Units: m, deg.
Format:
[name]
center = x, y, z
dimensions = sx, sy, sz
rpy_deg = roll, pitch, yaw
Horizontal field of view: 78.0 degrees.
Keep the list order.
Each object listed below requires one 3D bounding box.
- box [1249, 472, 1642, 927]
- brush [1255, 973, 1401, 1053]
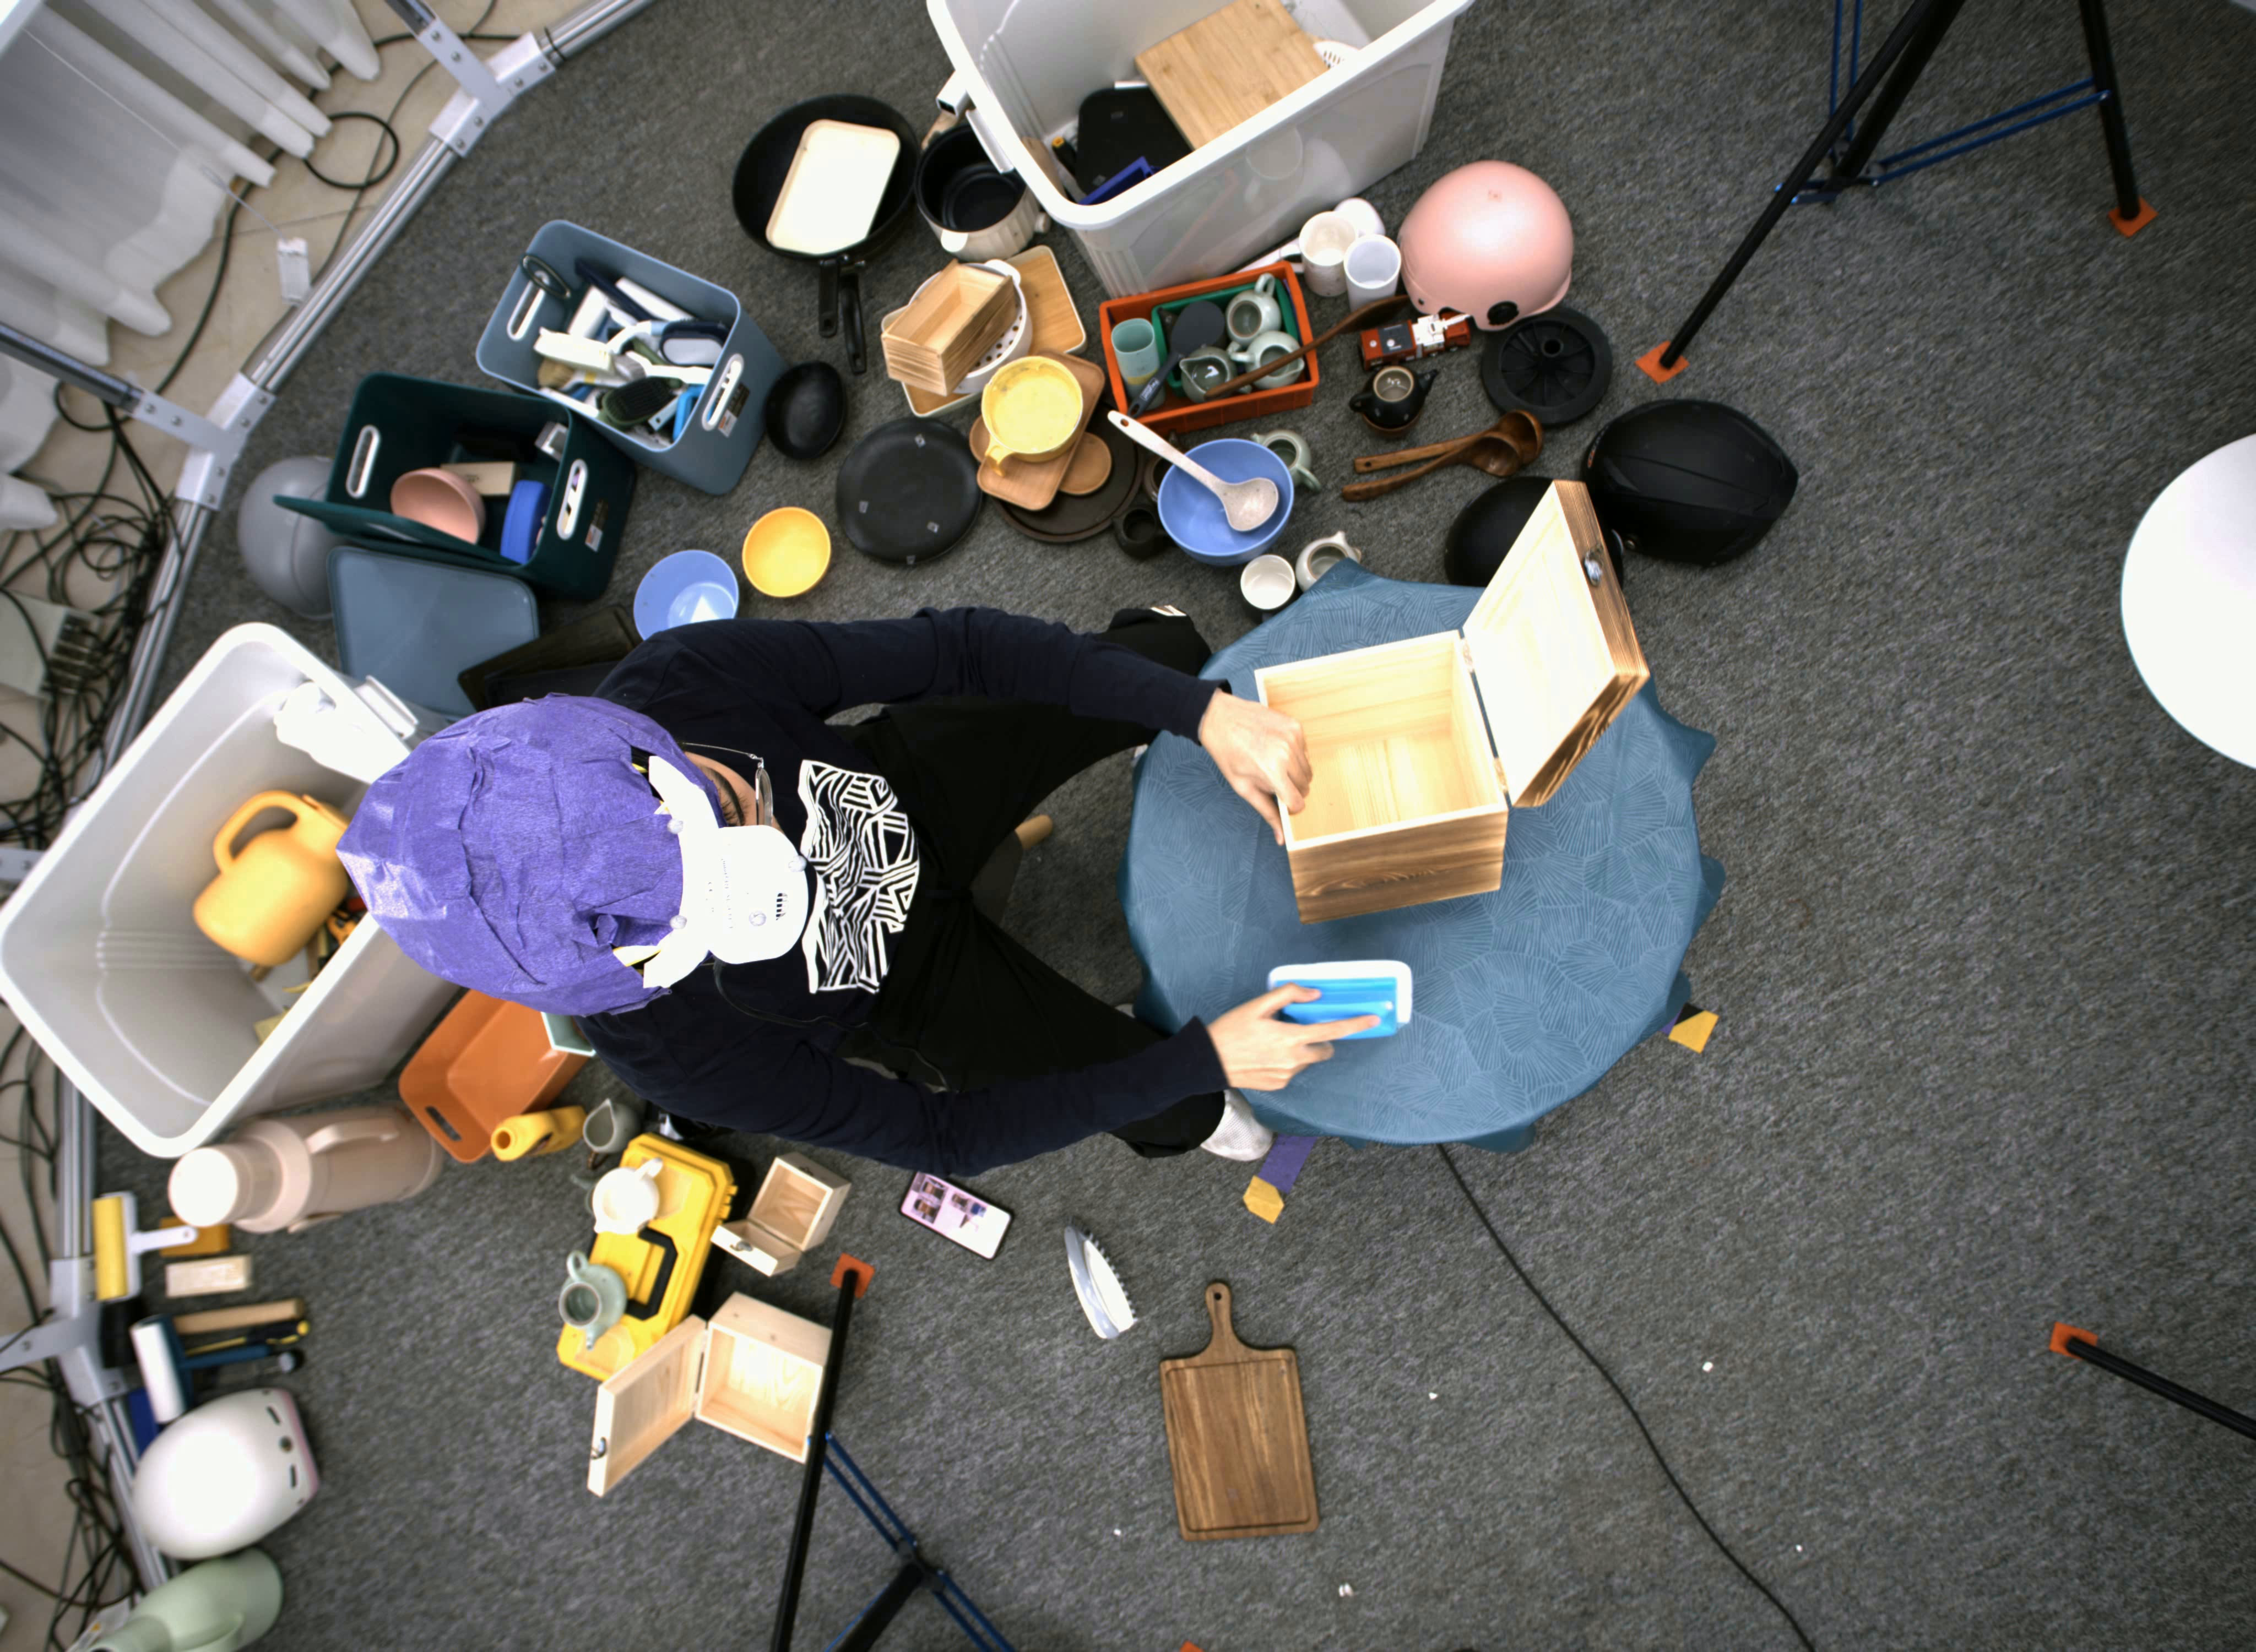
[box]
center = 0.275, -0.103, 1.258
dimensions = 0.323, 0.382, 0.204
rpy_deg = -11, 61, 7
[brush]
center = 0.199, 0.191, 1.363
dimensions = 0.144, 0.054, 0.085
rpy_deg = -6, 118, 4
